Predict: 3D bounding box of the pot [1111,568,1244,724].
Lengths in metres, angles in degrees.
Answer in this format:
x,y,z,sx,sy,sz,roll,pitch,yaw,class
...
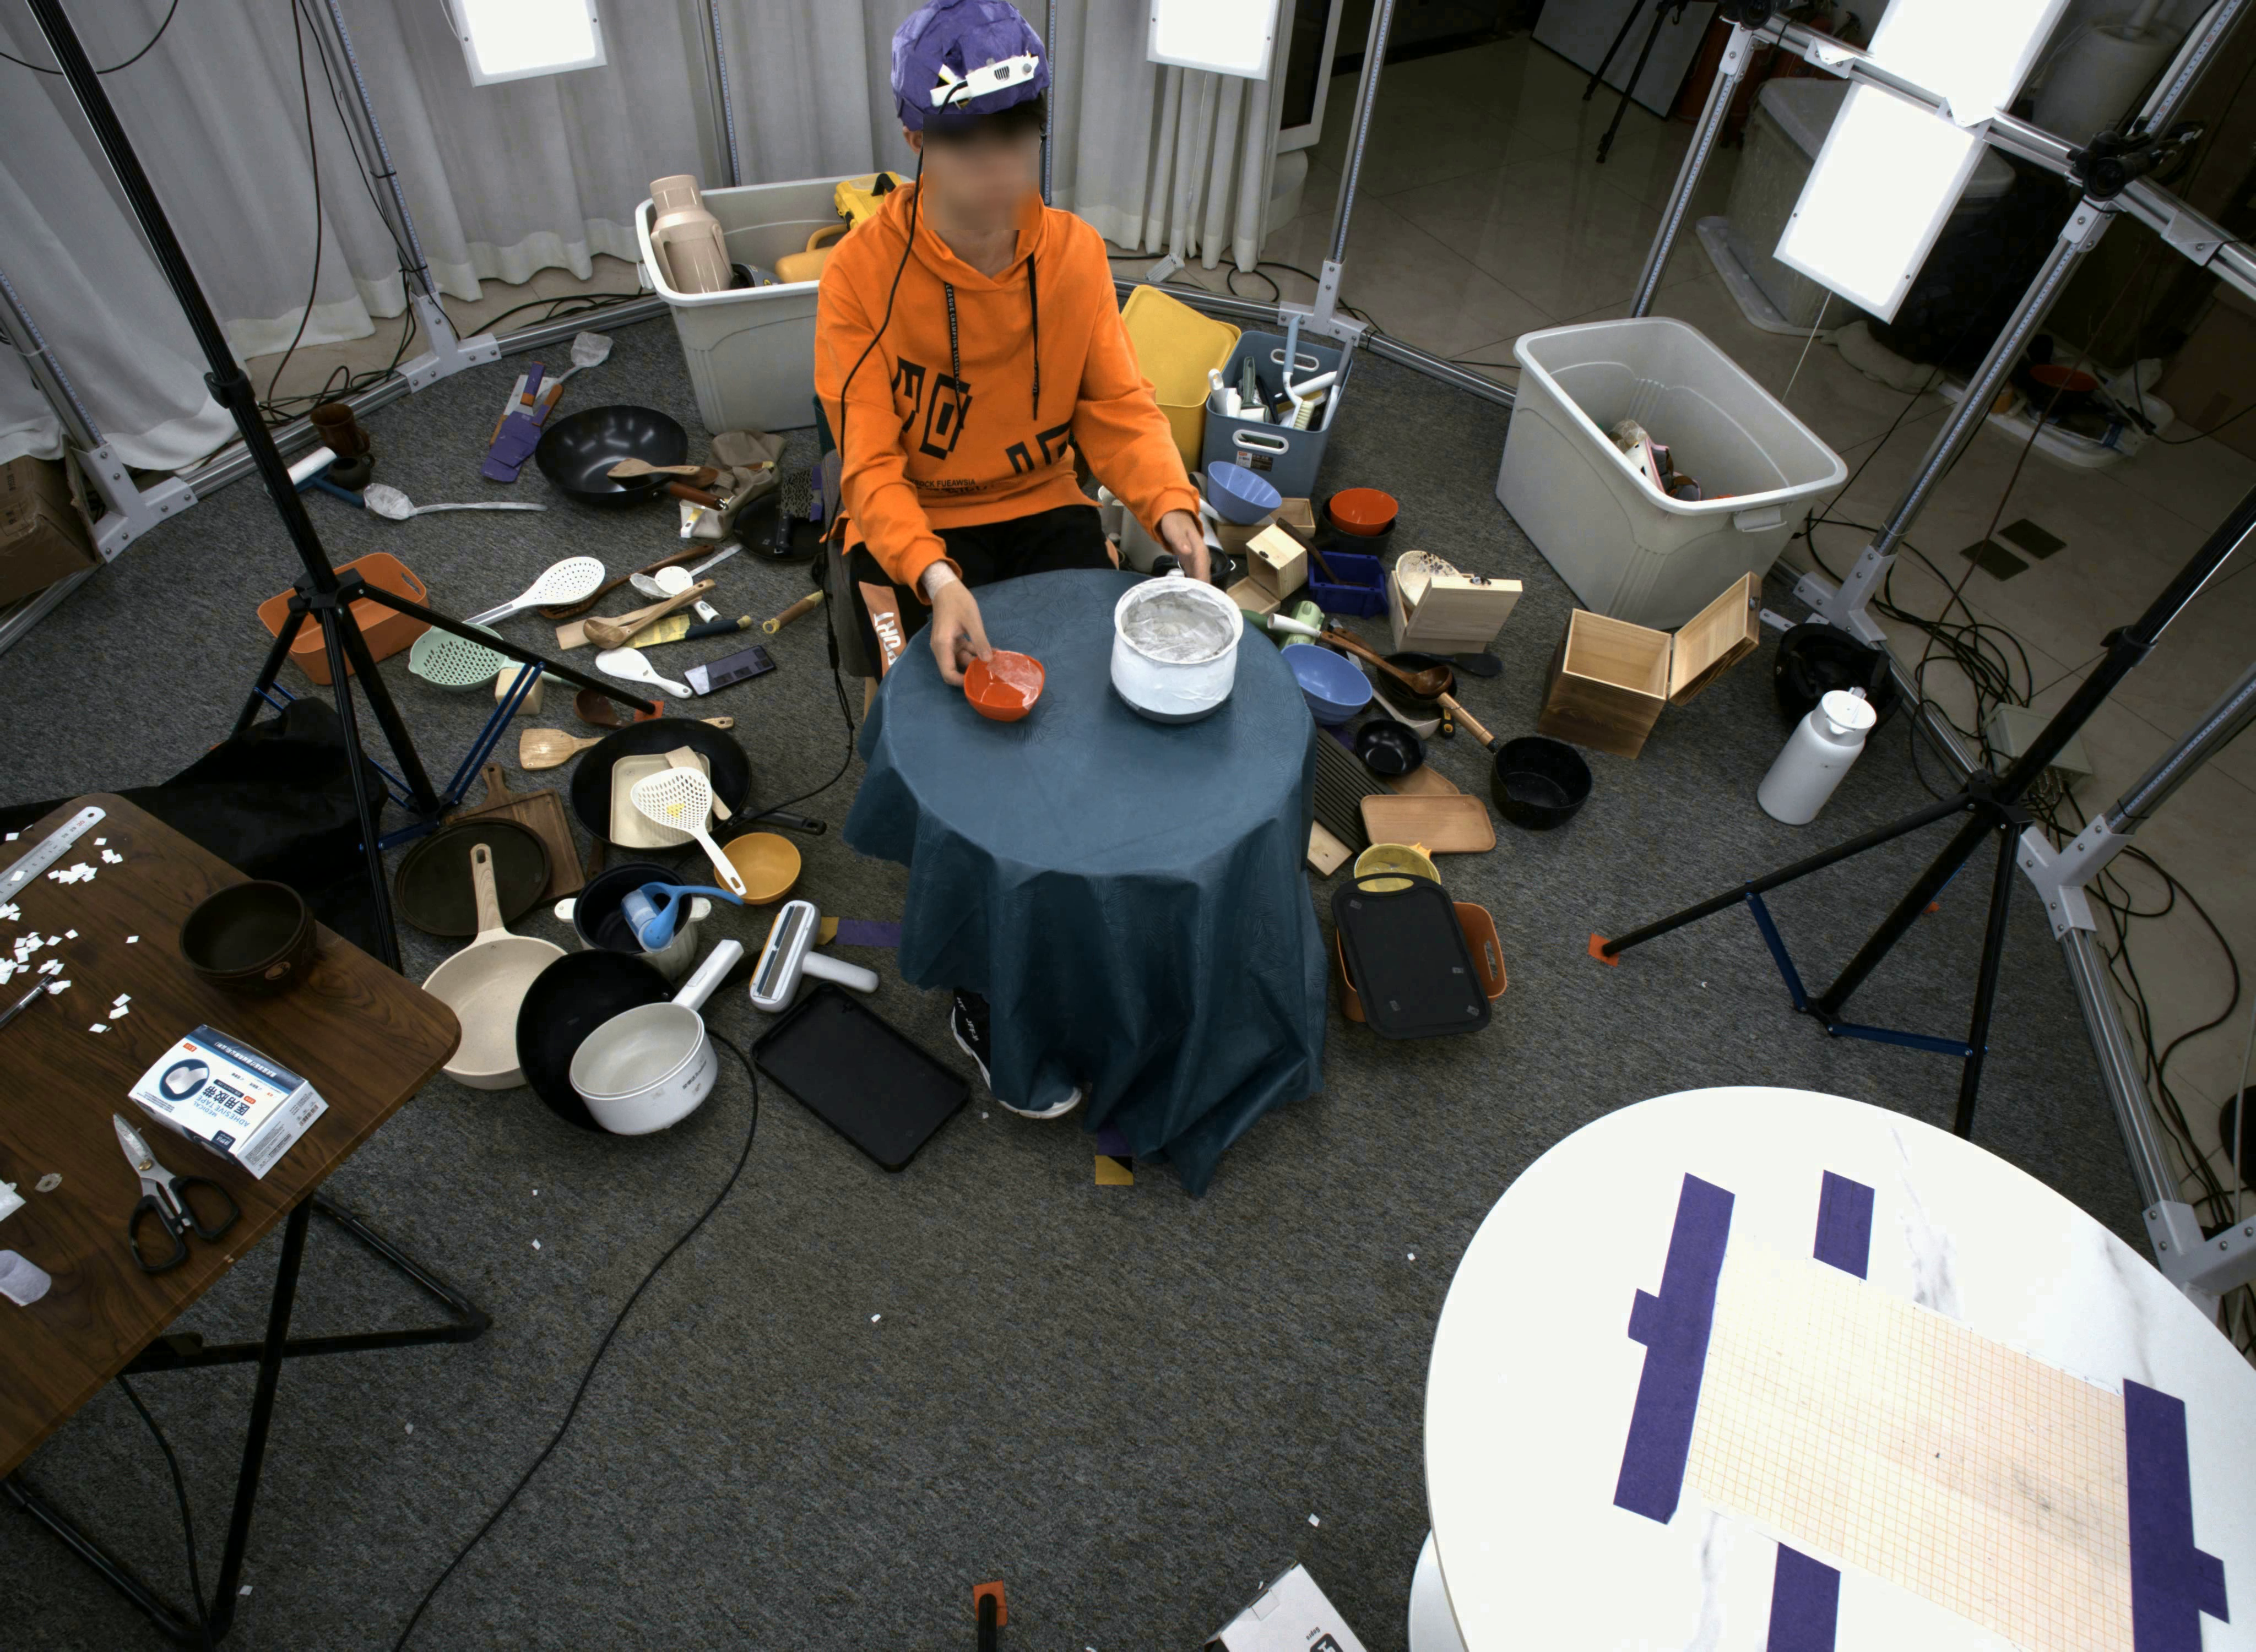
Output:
x,y,z,sx,sy,sz,roll,pitch,yaw,class
0.065,-0.263,1.813,0.178,0.133,0.239,1,49,-4,pot

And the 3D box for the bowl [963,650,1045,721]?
x,y,z,sx,sy,sz,roll,pitch,yaw,class
-0.171,-0.189,1.788,0.119,0.050,0.122,1,50,-2,bowl
